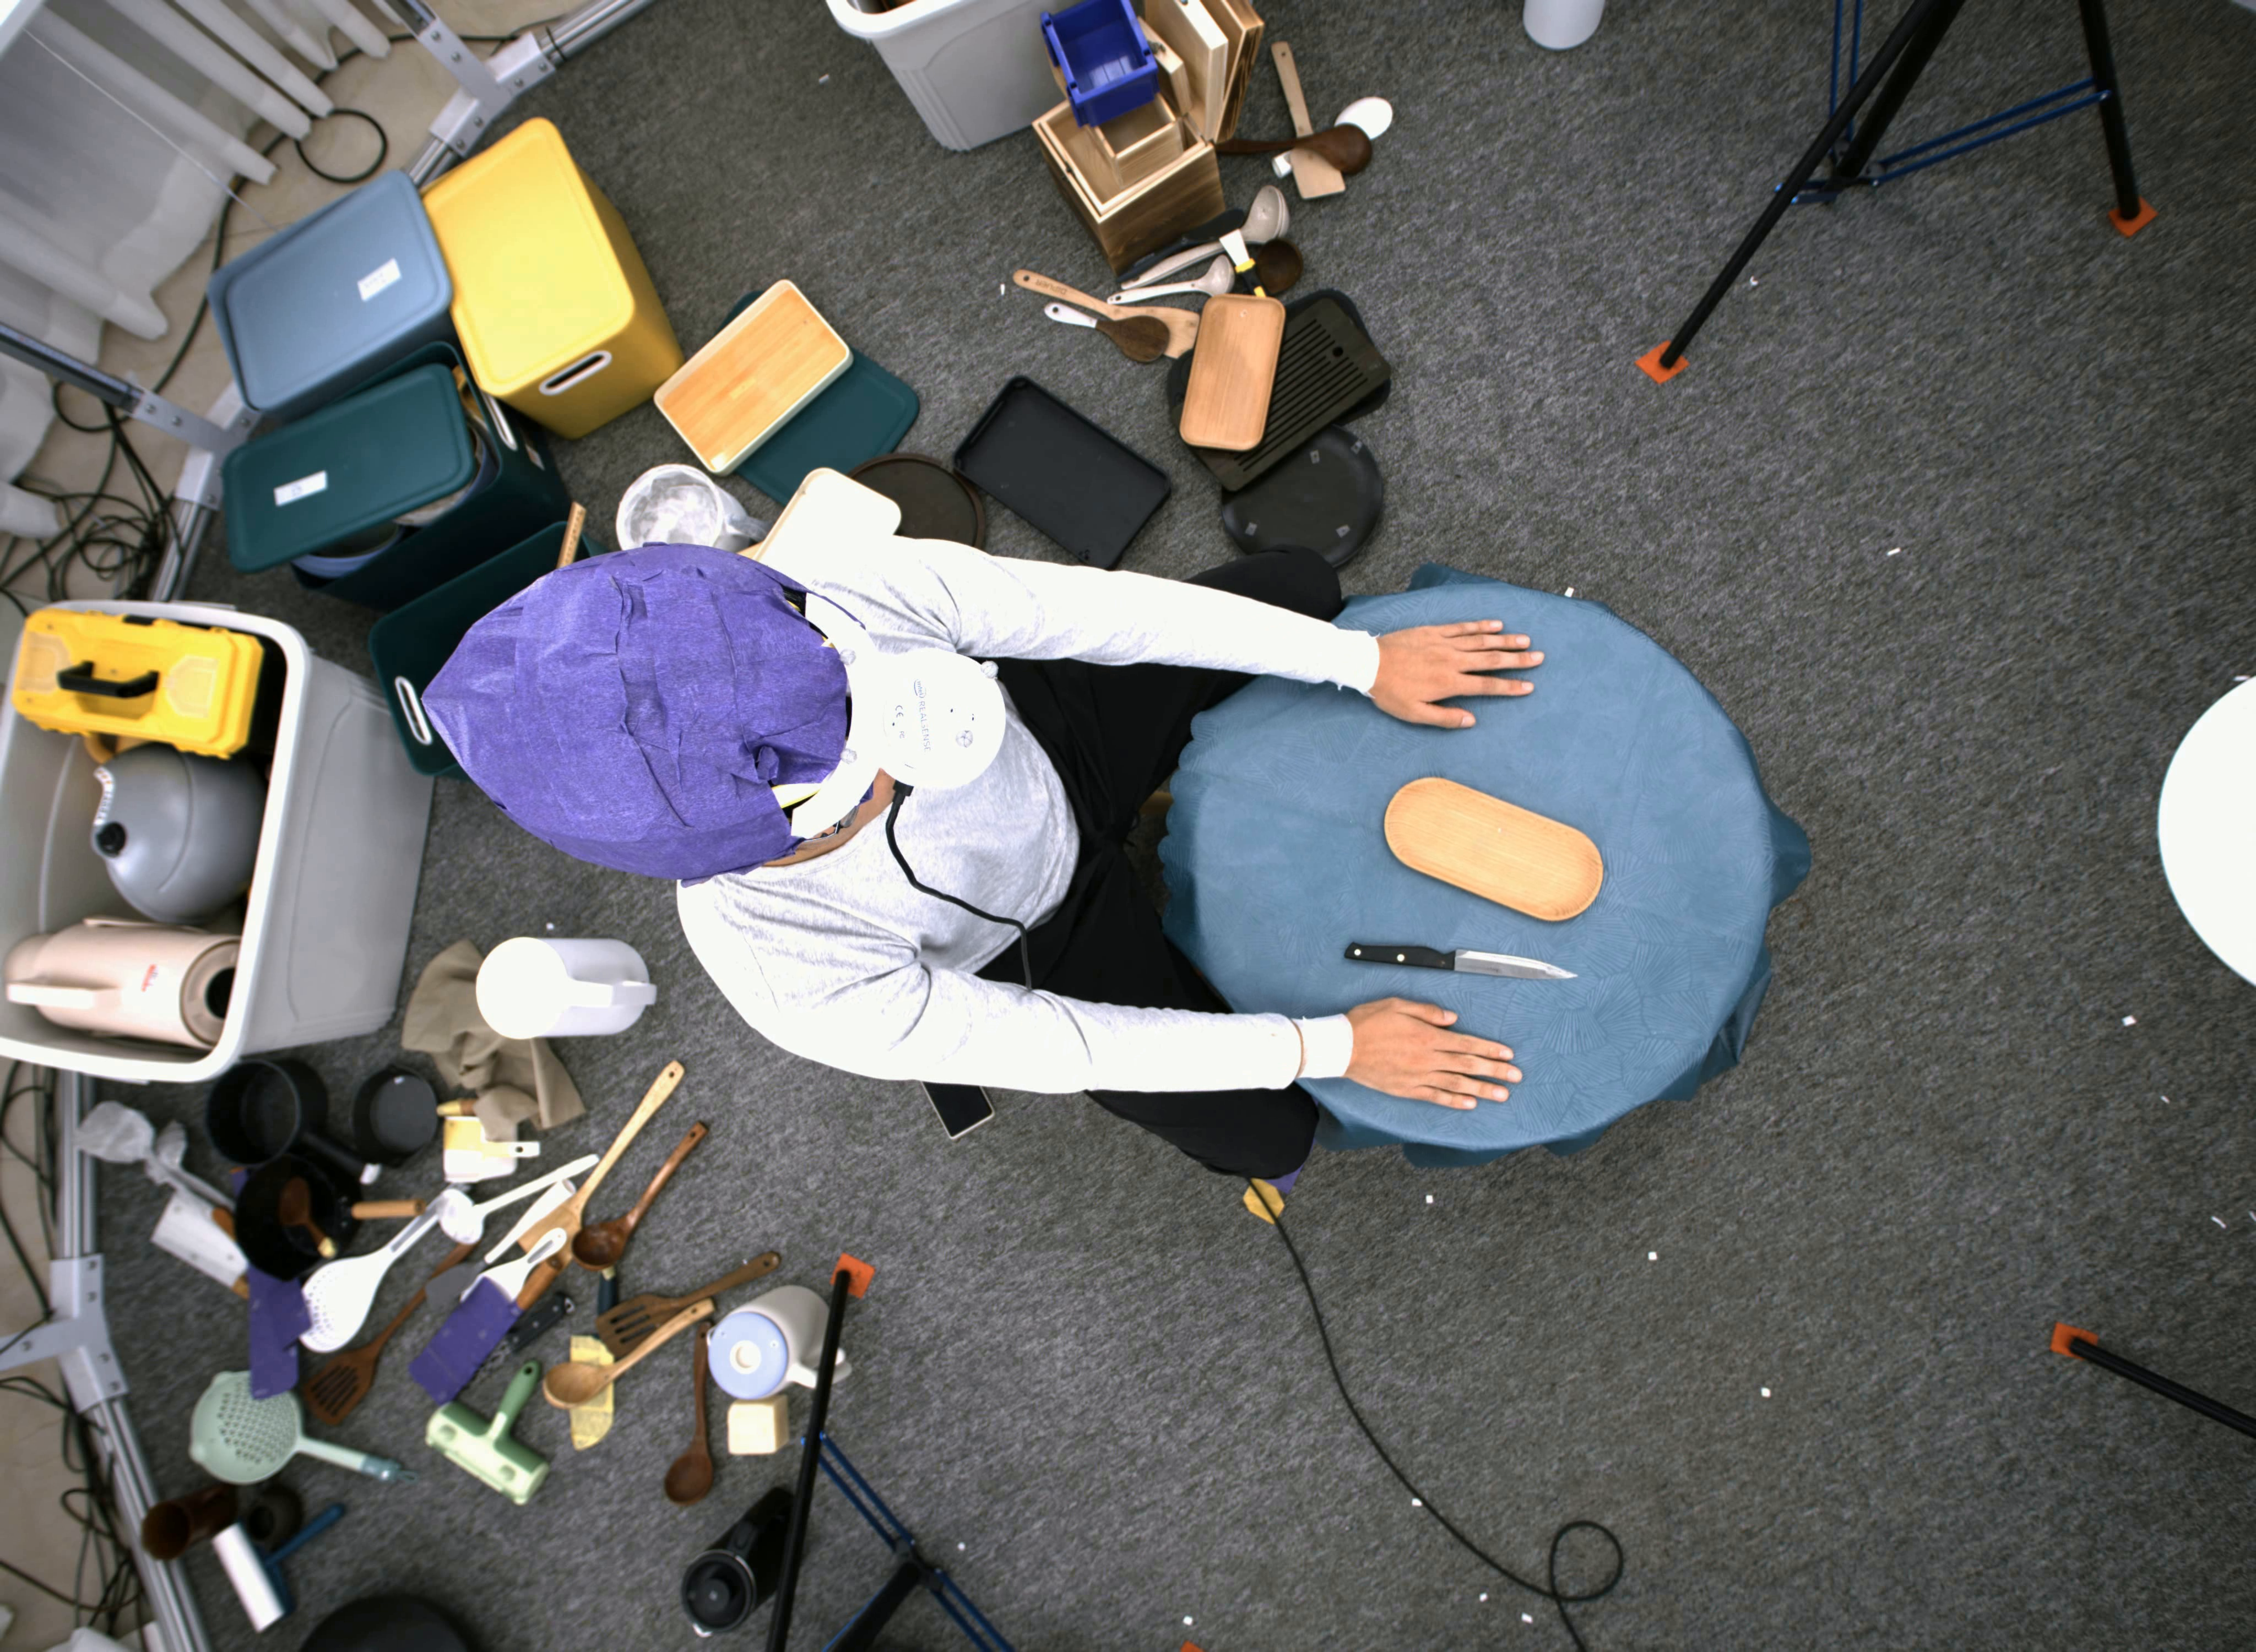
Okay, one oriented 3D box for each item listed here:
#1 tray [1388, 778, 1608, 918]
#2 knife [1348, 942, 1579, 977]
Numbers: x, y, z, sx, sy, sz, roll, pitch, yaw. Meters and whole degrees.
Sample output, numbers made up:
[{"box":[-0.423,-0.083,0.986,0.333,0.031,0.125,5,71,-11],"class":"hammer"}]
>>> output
[{"box":[0.384,0.020,1.434,0.231,0.020,0.102,20,92,10],"class":"tray"},{"box":[0.348,0.140,1.436,0.239,0.016,0.024,5,83,8],"class":"knife"}]
